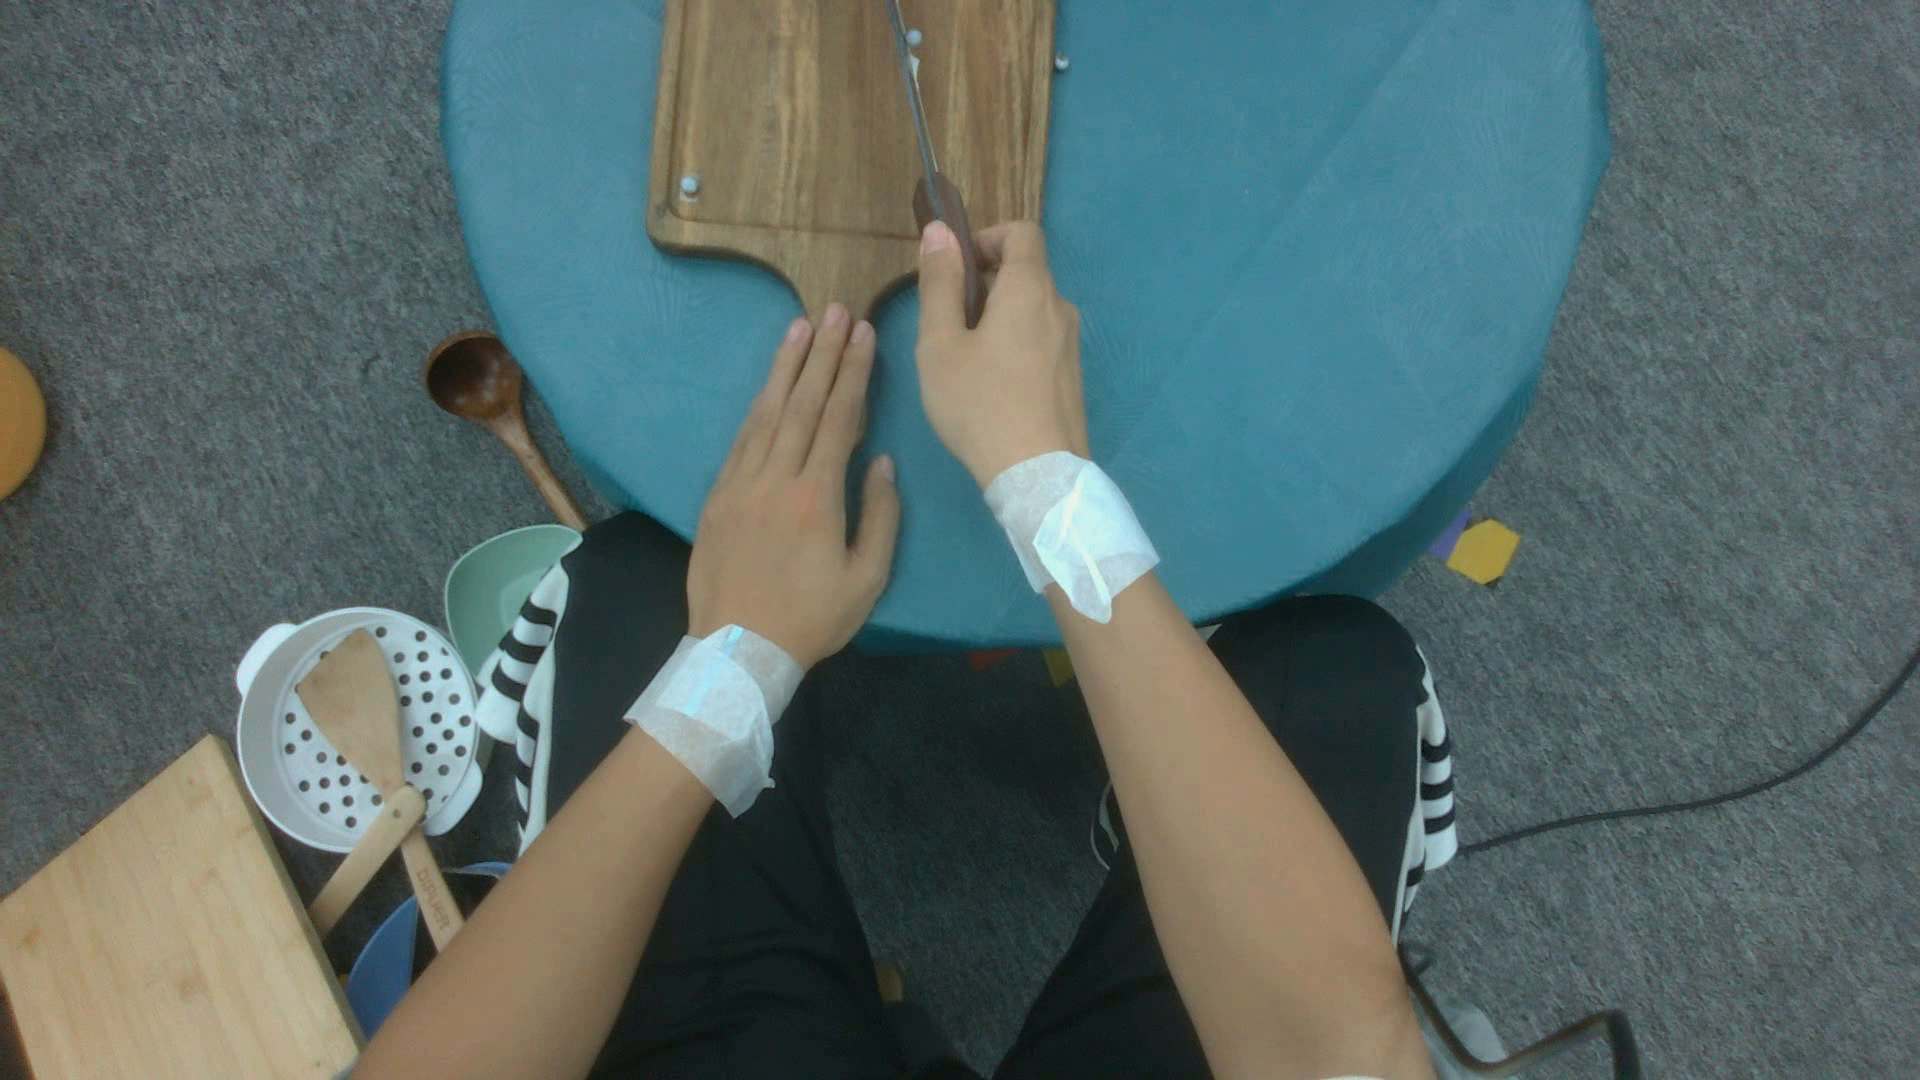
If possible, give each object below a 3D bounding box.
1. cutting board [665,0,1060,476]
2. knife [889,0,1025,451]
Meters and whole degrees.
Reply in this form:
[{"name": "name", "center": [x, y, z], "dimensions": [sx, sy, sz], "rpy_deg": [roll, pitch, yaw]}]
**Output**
[{"name": "cutting board", "center": [-0.050, -0.208, 0.721], "dimensions": [0.201, 0.023, 0.352], "rpy_deg": [3, 83, -1]}, {"name": "knife", "center": [-0.010, -0.179, 0.670], "dimensions": [0.024, 0.068, 0.300], "rpy_deg": [-14, 77, 6]}]
